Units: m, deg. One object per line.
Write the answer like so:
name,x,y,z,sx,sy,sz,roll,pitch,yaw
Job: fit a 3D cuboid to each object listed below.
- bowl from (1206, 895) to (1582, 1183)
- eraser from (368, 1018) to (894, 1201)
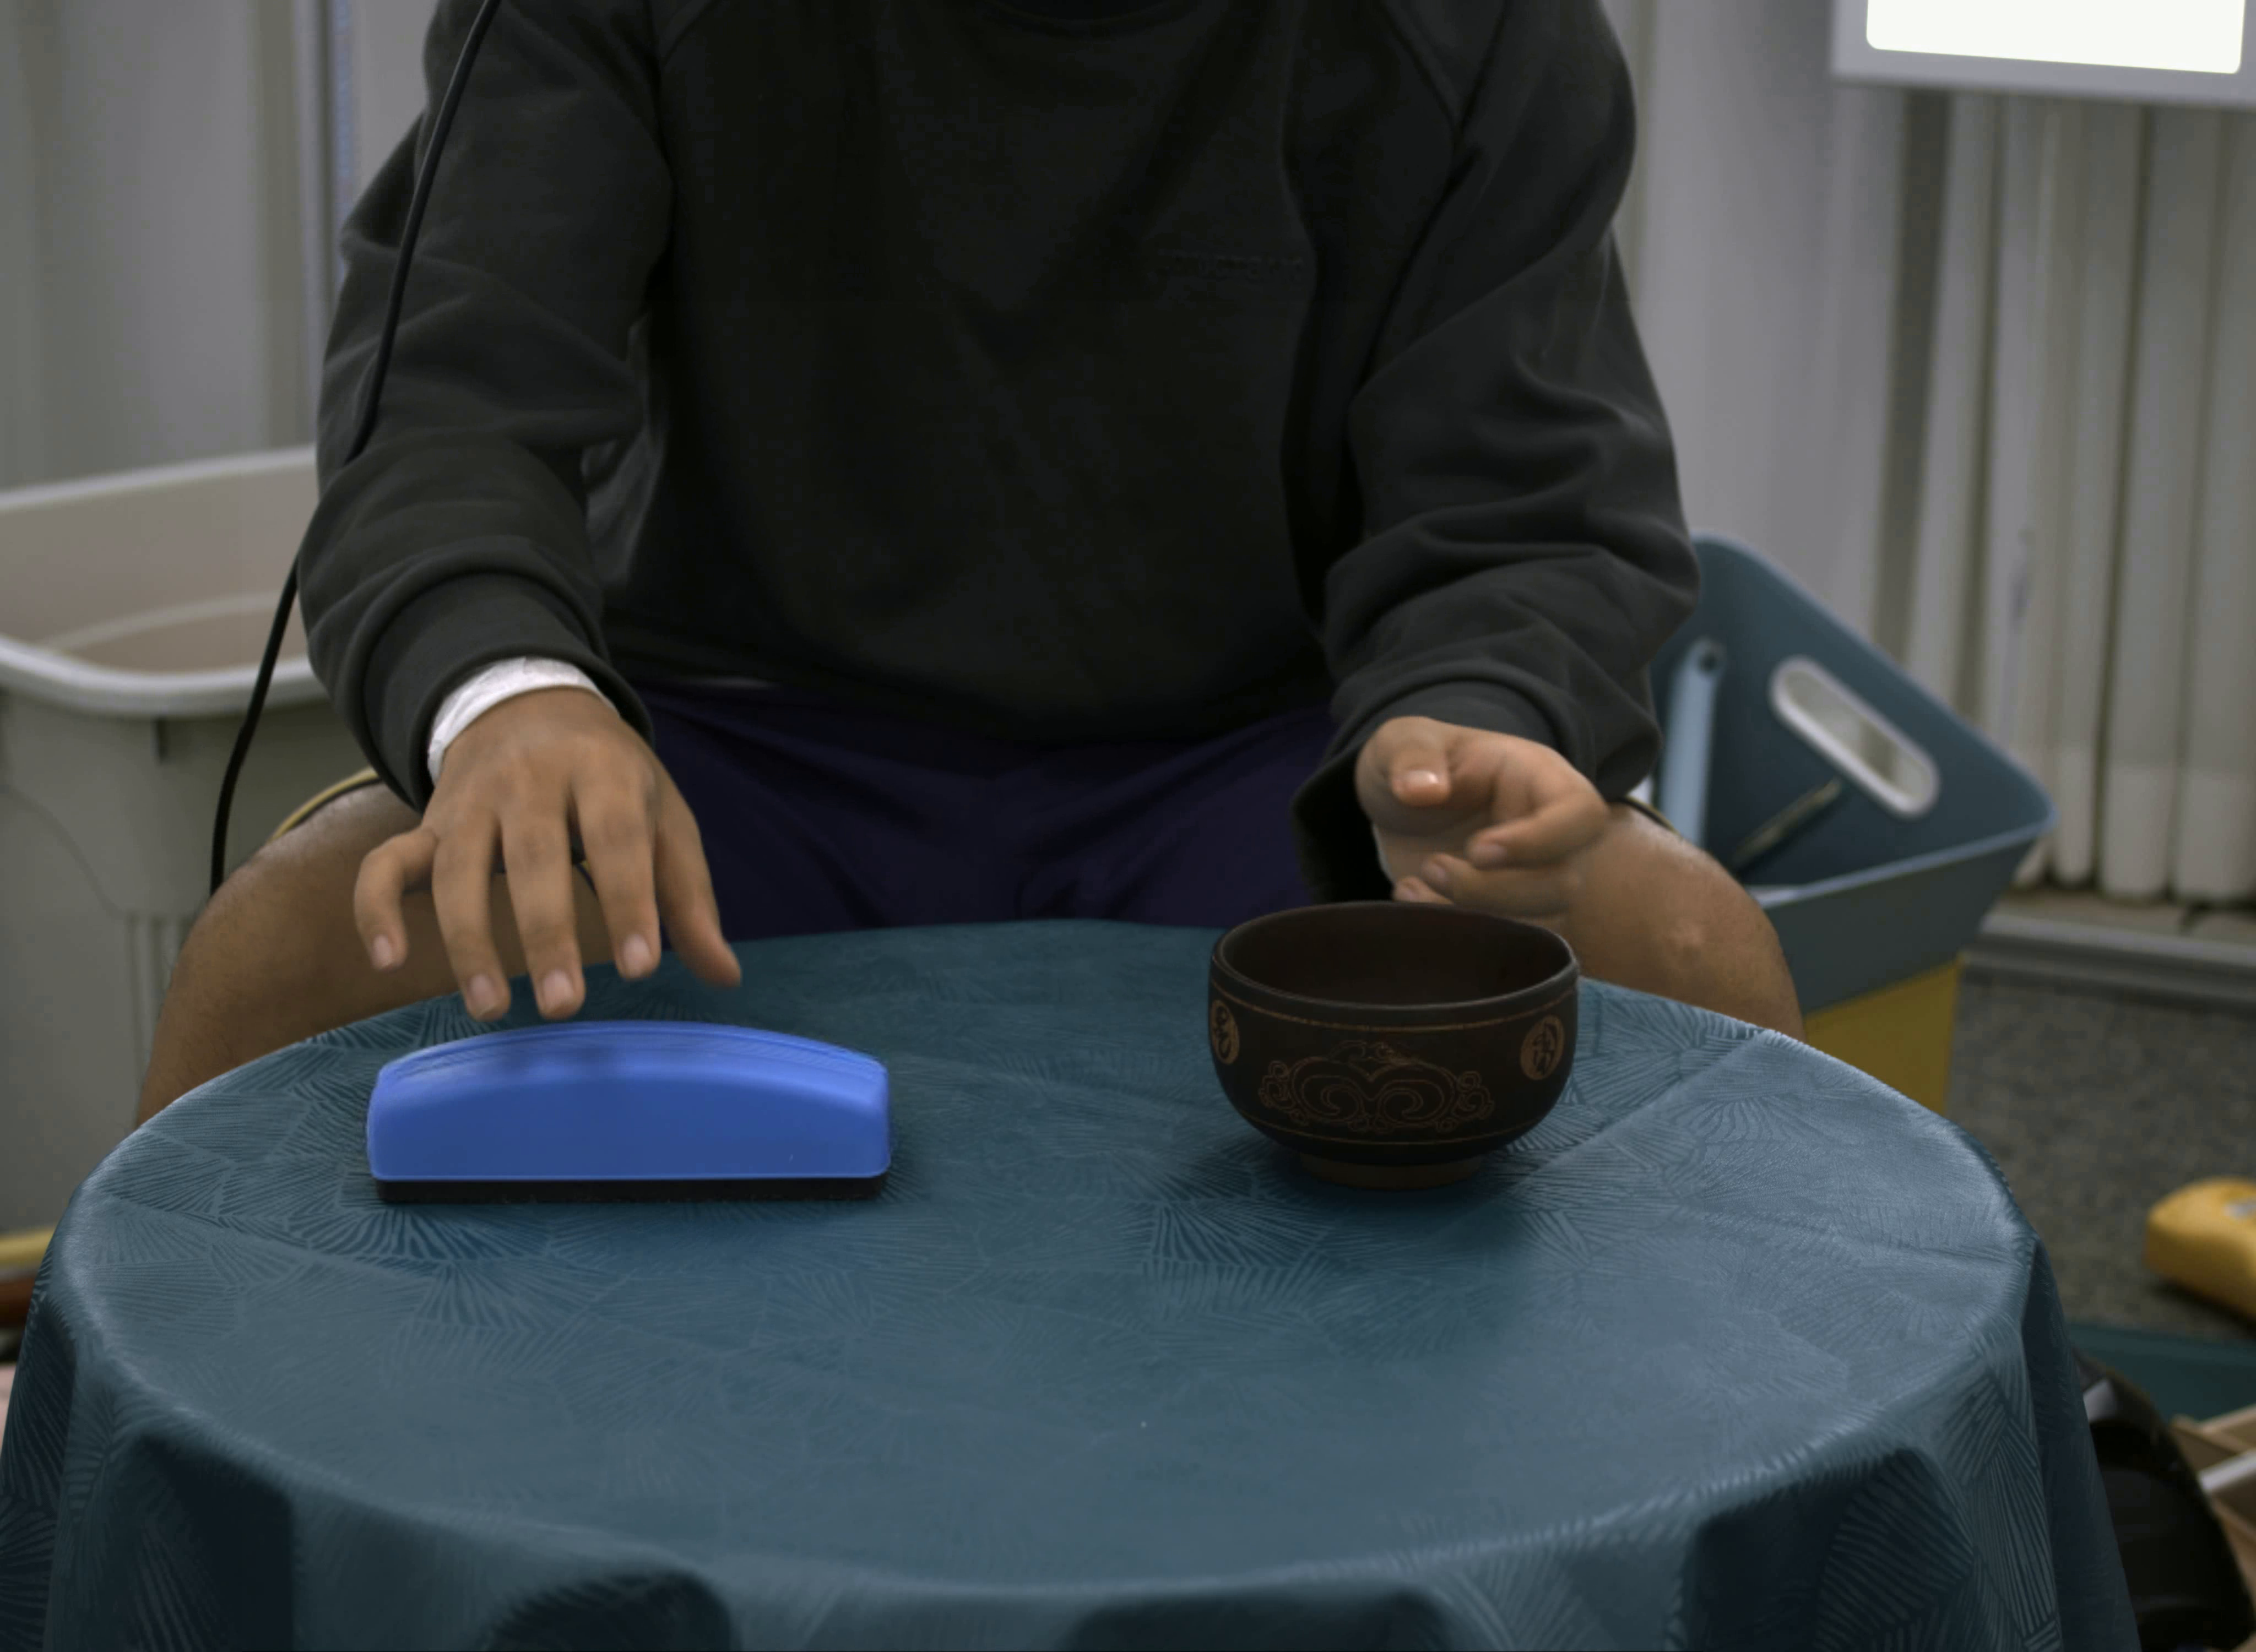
bowl,0.083,0.070,1.641,0.117,0.070,0.117,0,15,1
eraser,-0.153,0.087,1.624,0.162,0.048,0.053,0,17,-4
